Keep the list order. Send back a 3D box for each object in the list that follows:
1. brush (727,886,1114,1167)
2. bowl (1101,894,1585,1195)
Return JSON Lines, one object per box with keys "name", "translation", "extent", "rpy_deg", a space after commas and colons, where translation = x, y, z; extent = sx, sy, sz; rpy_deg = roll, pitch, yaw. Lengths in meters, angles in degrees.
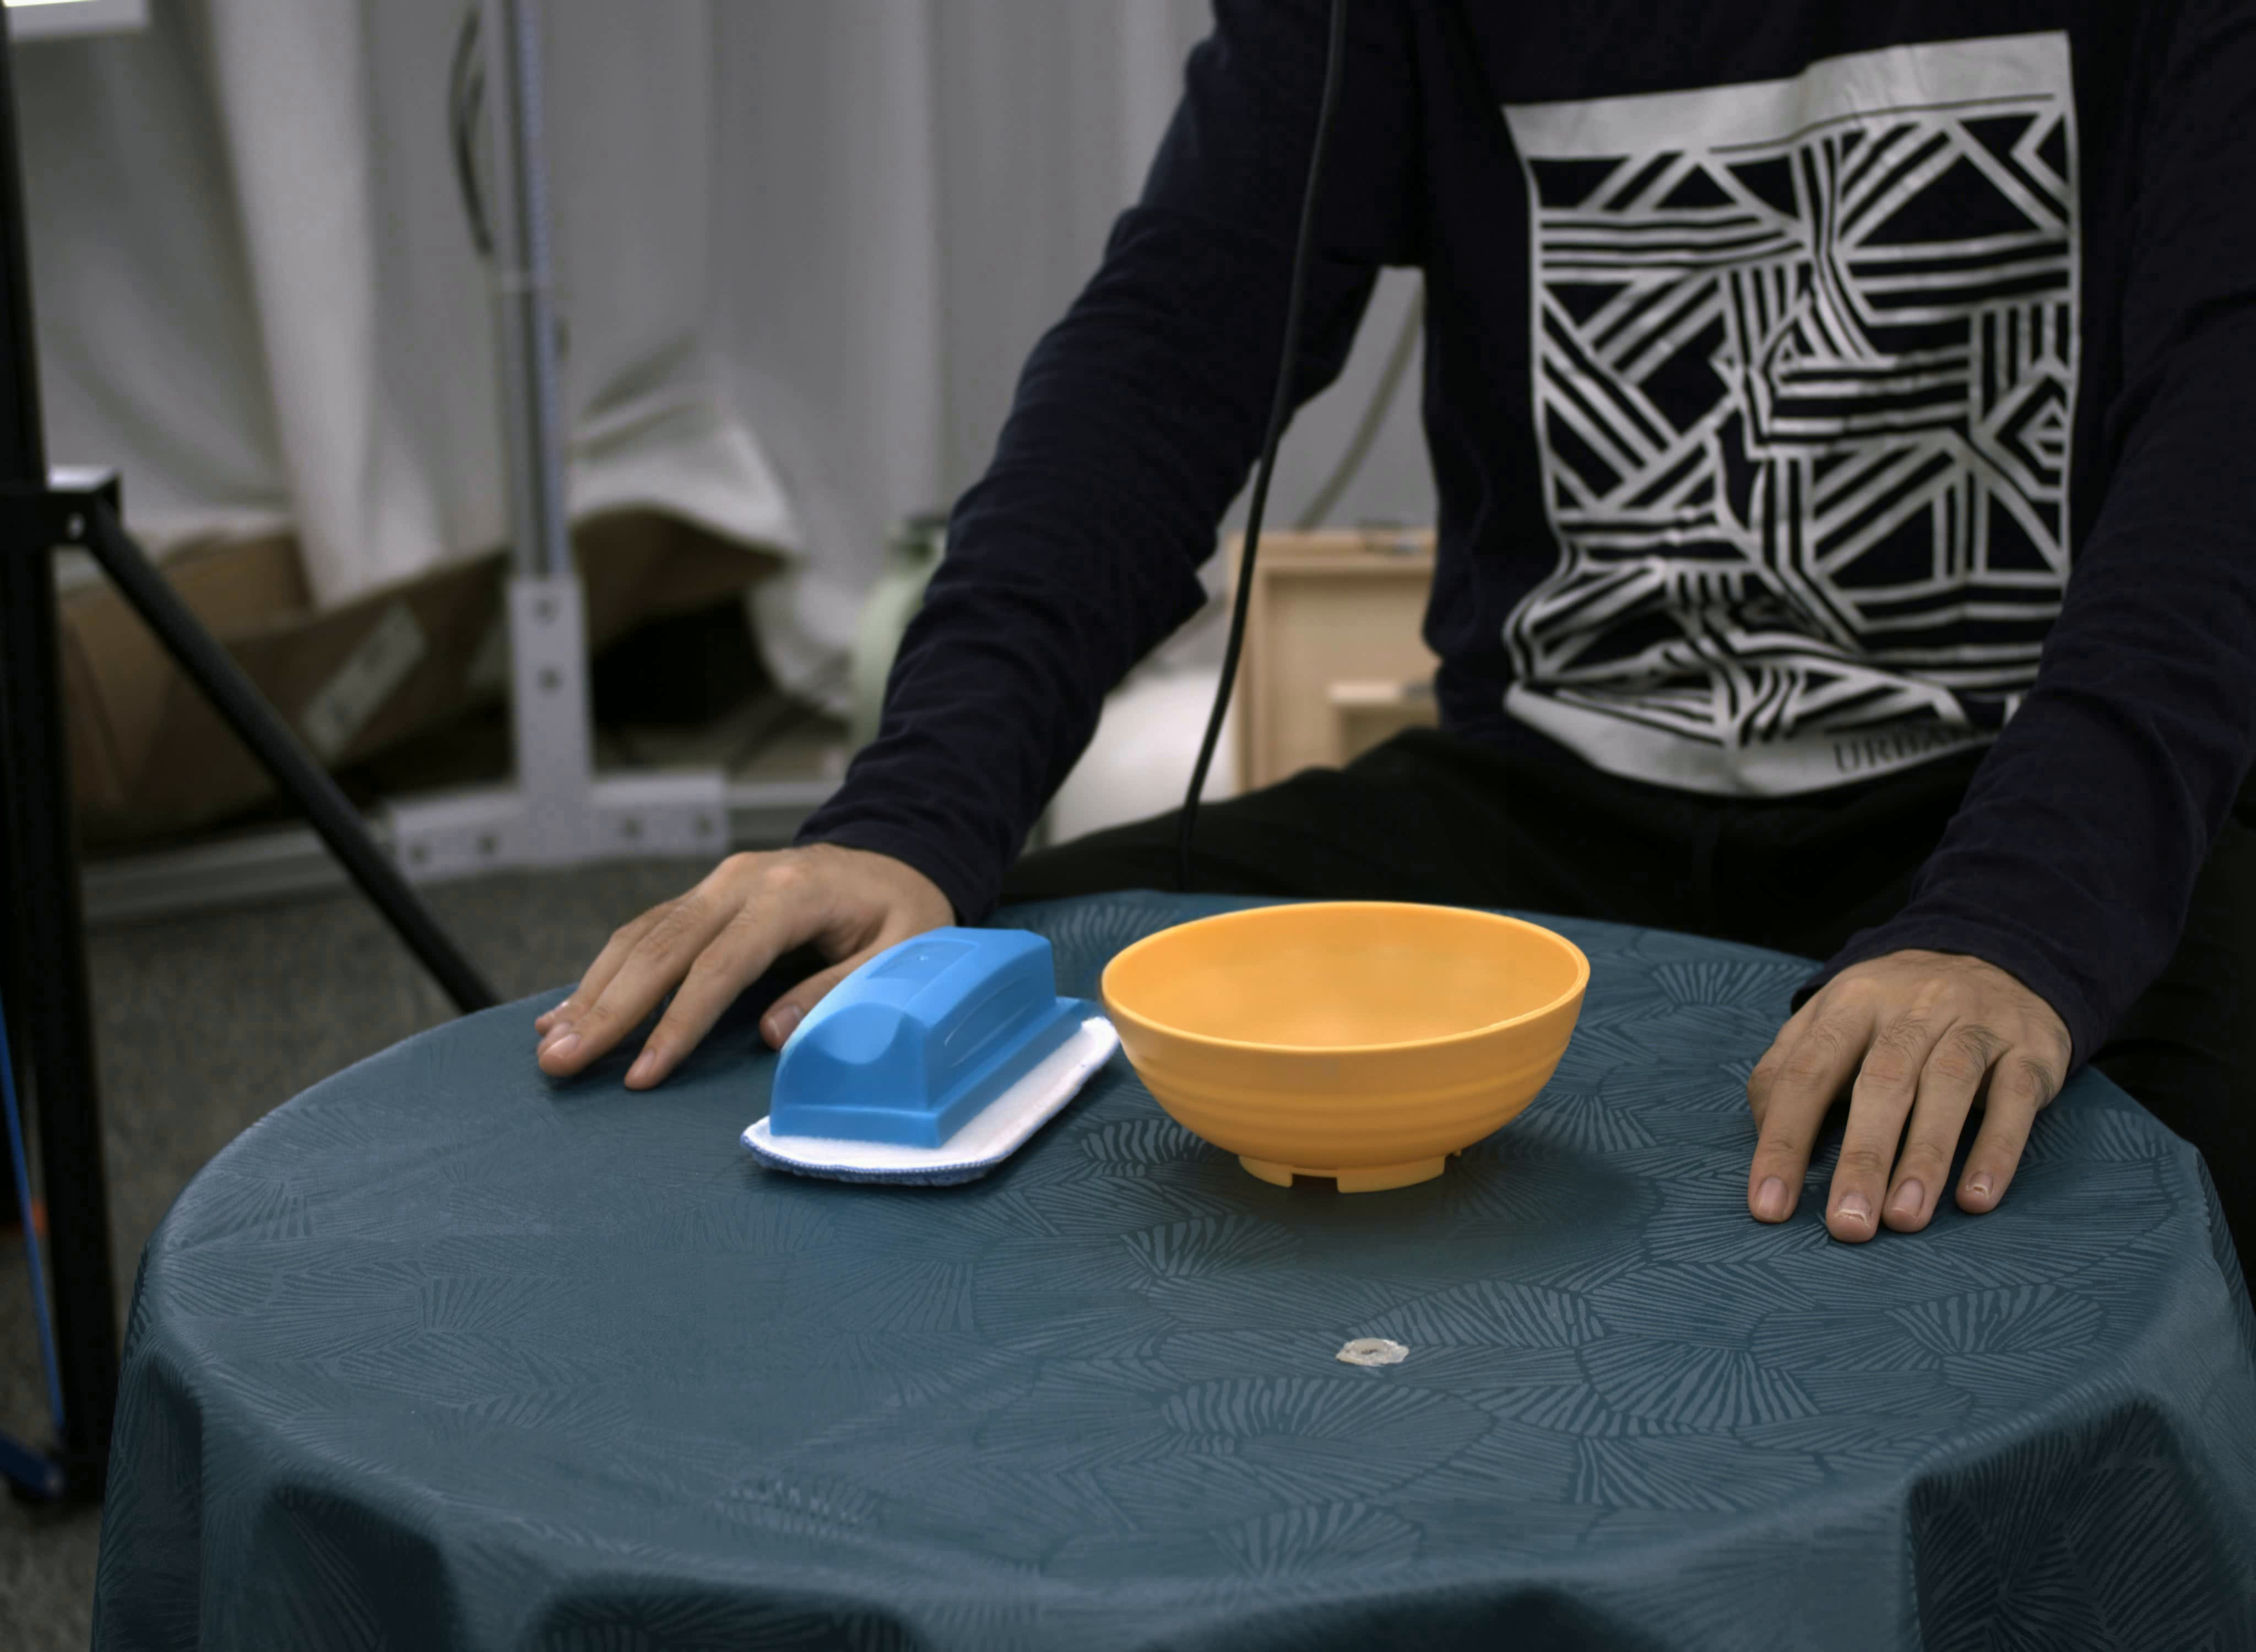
{"name": "brush", "translation": [-0.061, 0.058, 1.634], "extent": [0.085, 0.056, 0.142], "rpy_deg": [8, 21, 21]}
{"name": "bowl", "translation": [0.065, 0.071, 1.577], "extent": [0.144, 0.060, 0.146], "rpy_deg": [-3, 18, -1]}
